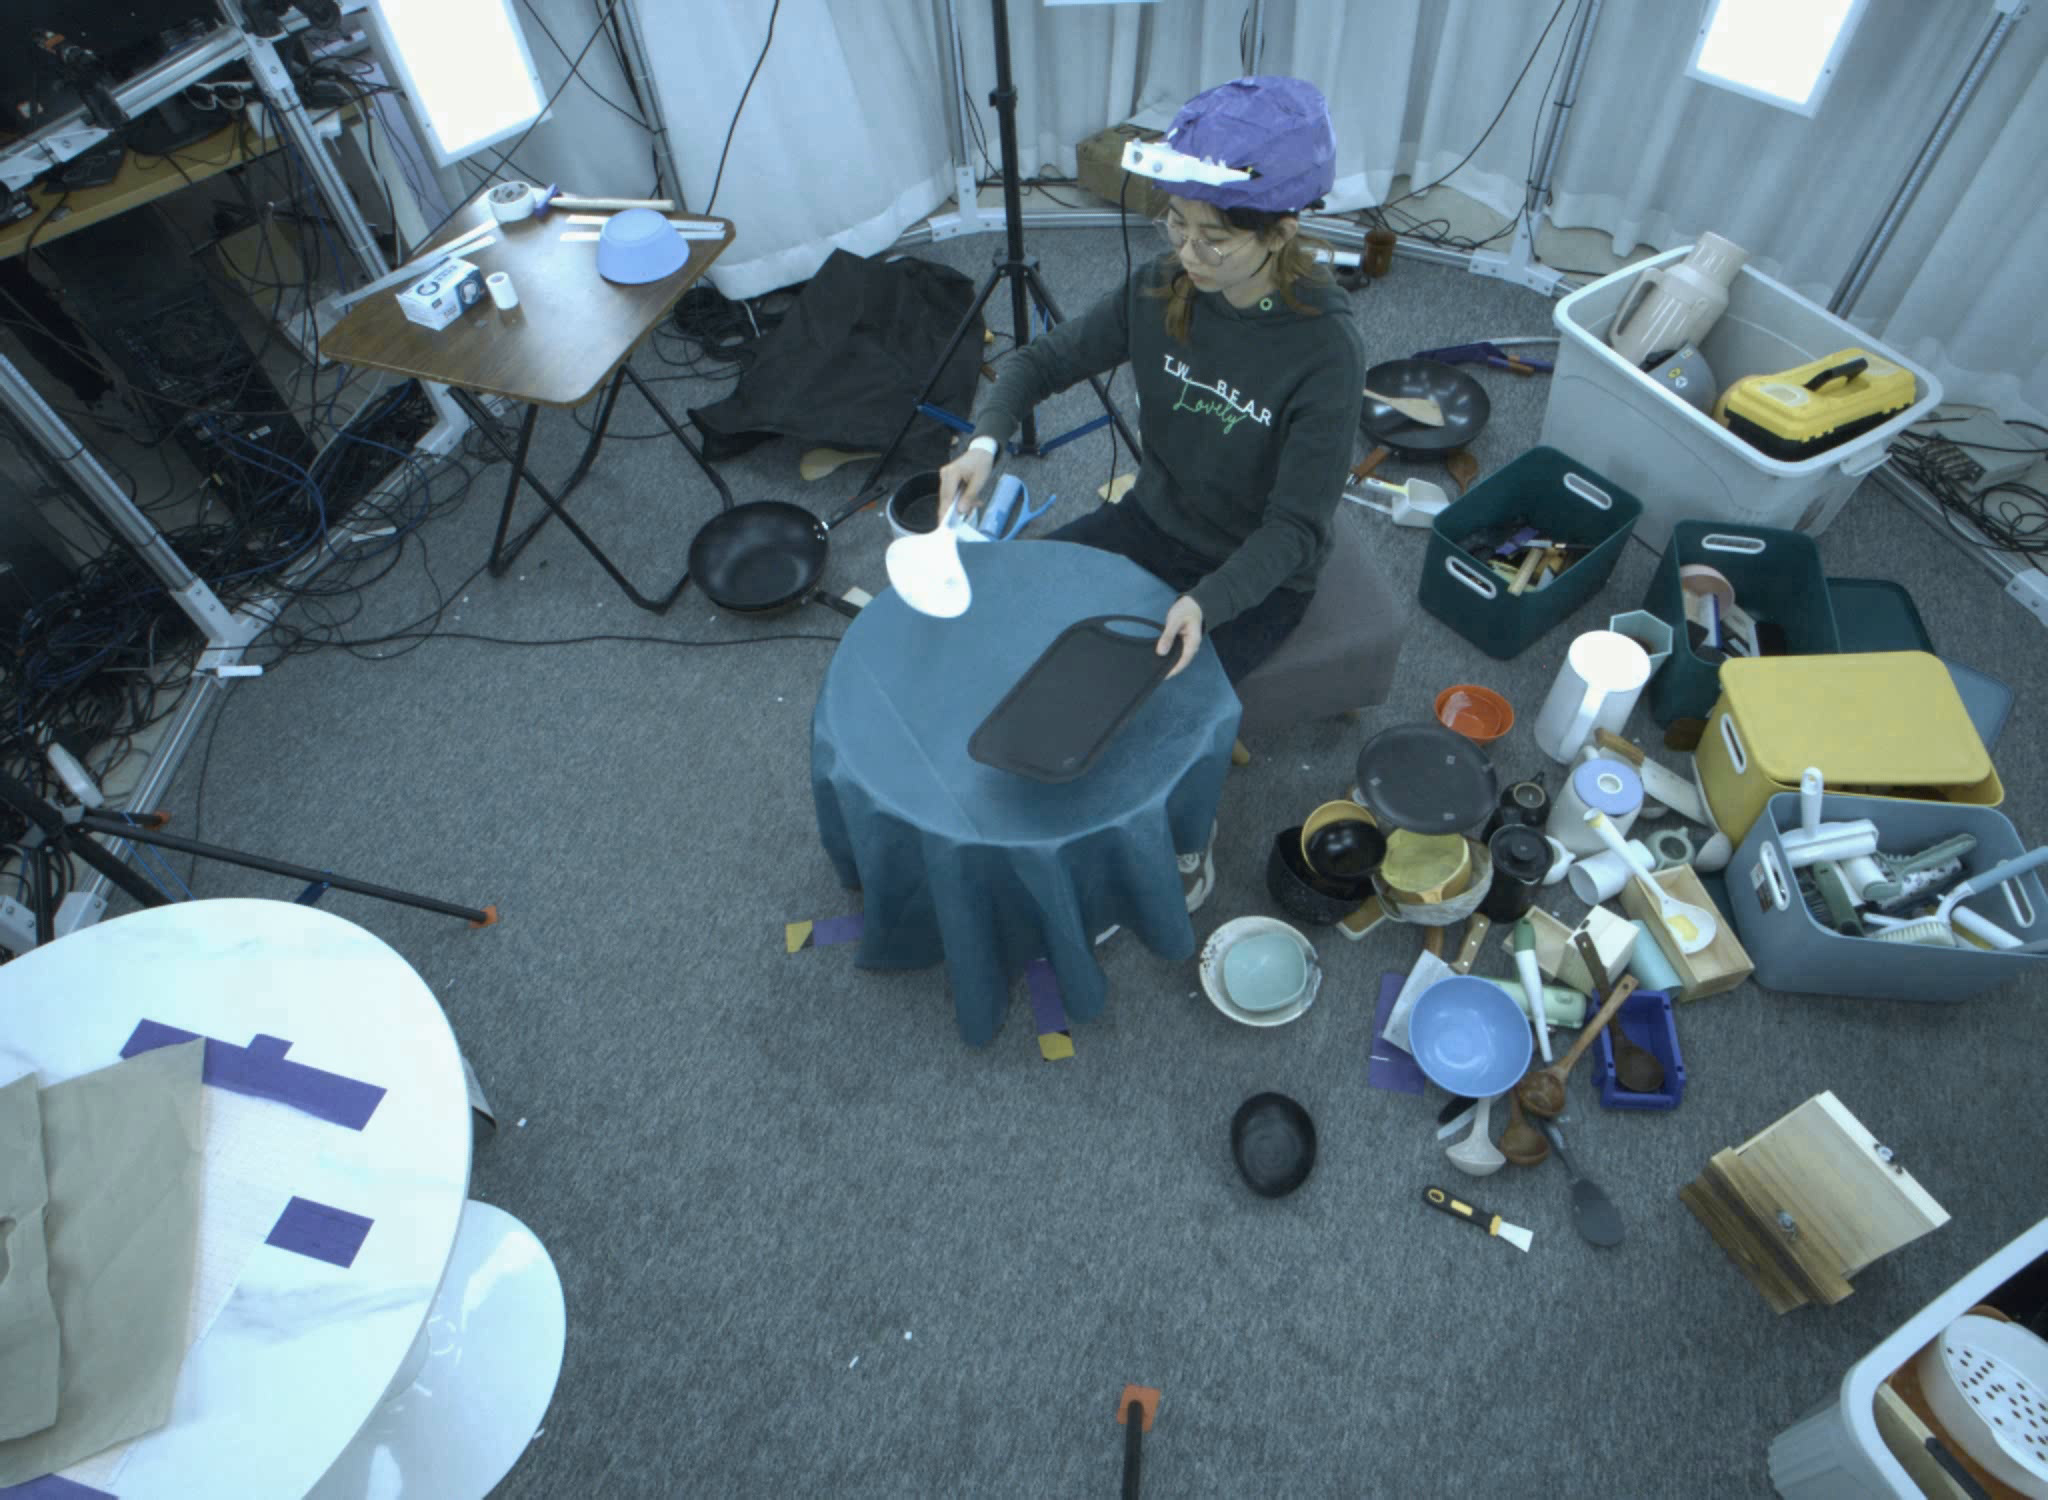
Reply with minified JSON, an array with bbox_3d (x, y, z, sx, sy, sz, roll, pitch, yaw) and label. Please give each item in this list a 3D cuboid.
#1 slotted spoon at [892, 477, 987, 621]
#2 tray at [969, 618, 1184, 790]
[{"bbox_3d":[-0.108,-0.304,1.789,0.138,0.045,0.348,33,47,-16],"label":"slotted spoon"},{"bbox_3d":[0.078,-0.077,1.709,0.206,0.010,0.327,18,56,36],"label":"tray"}]
